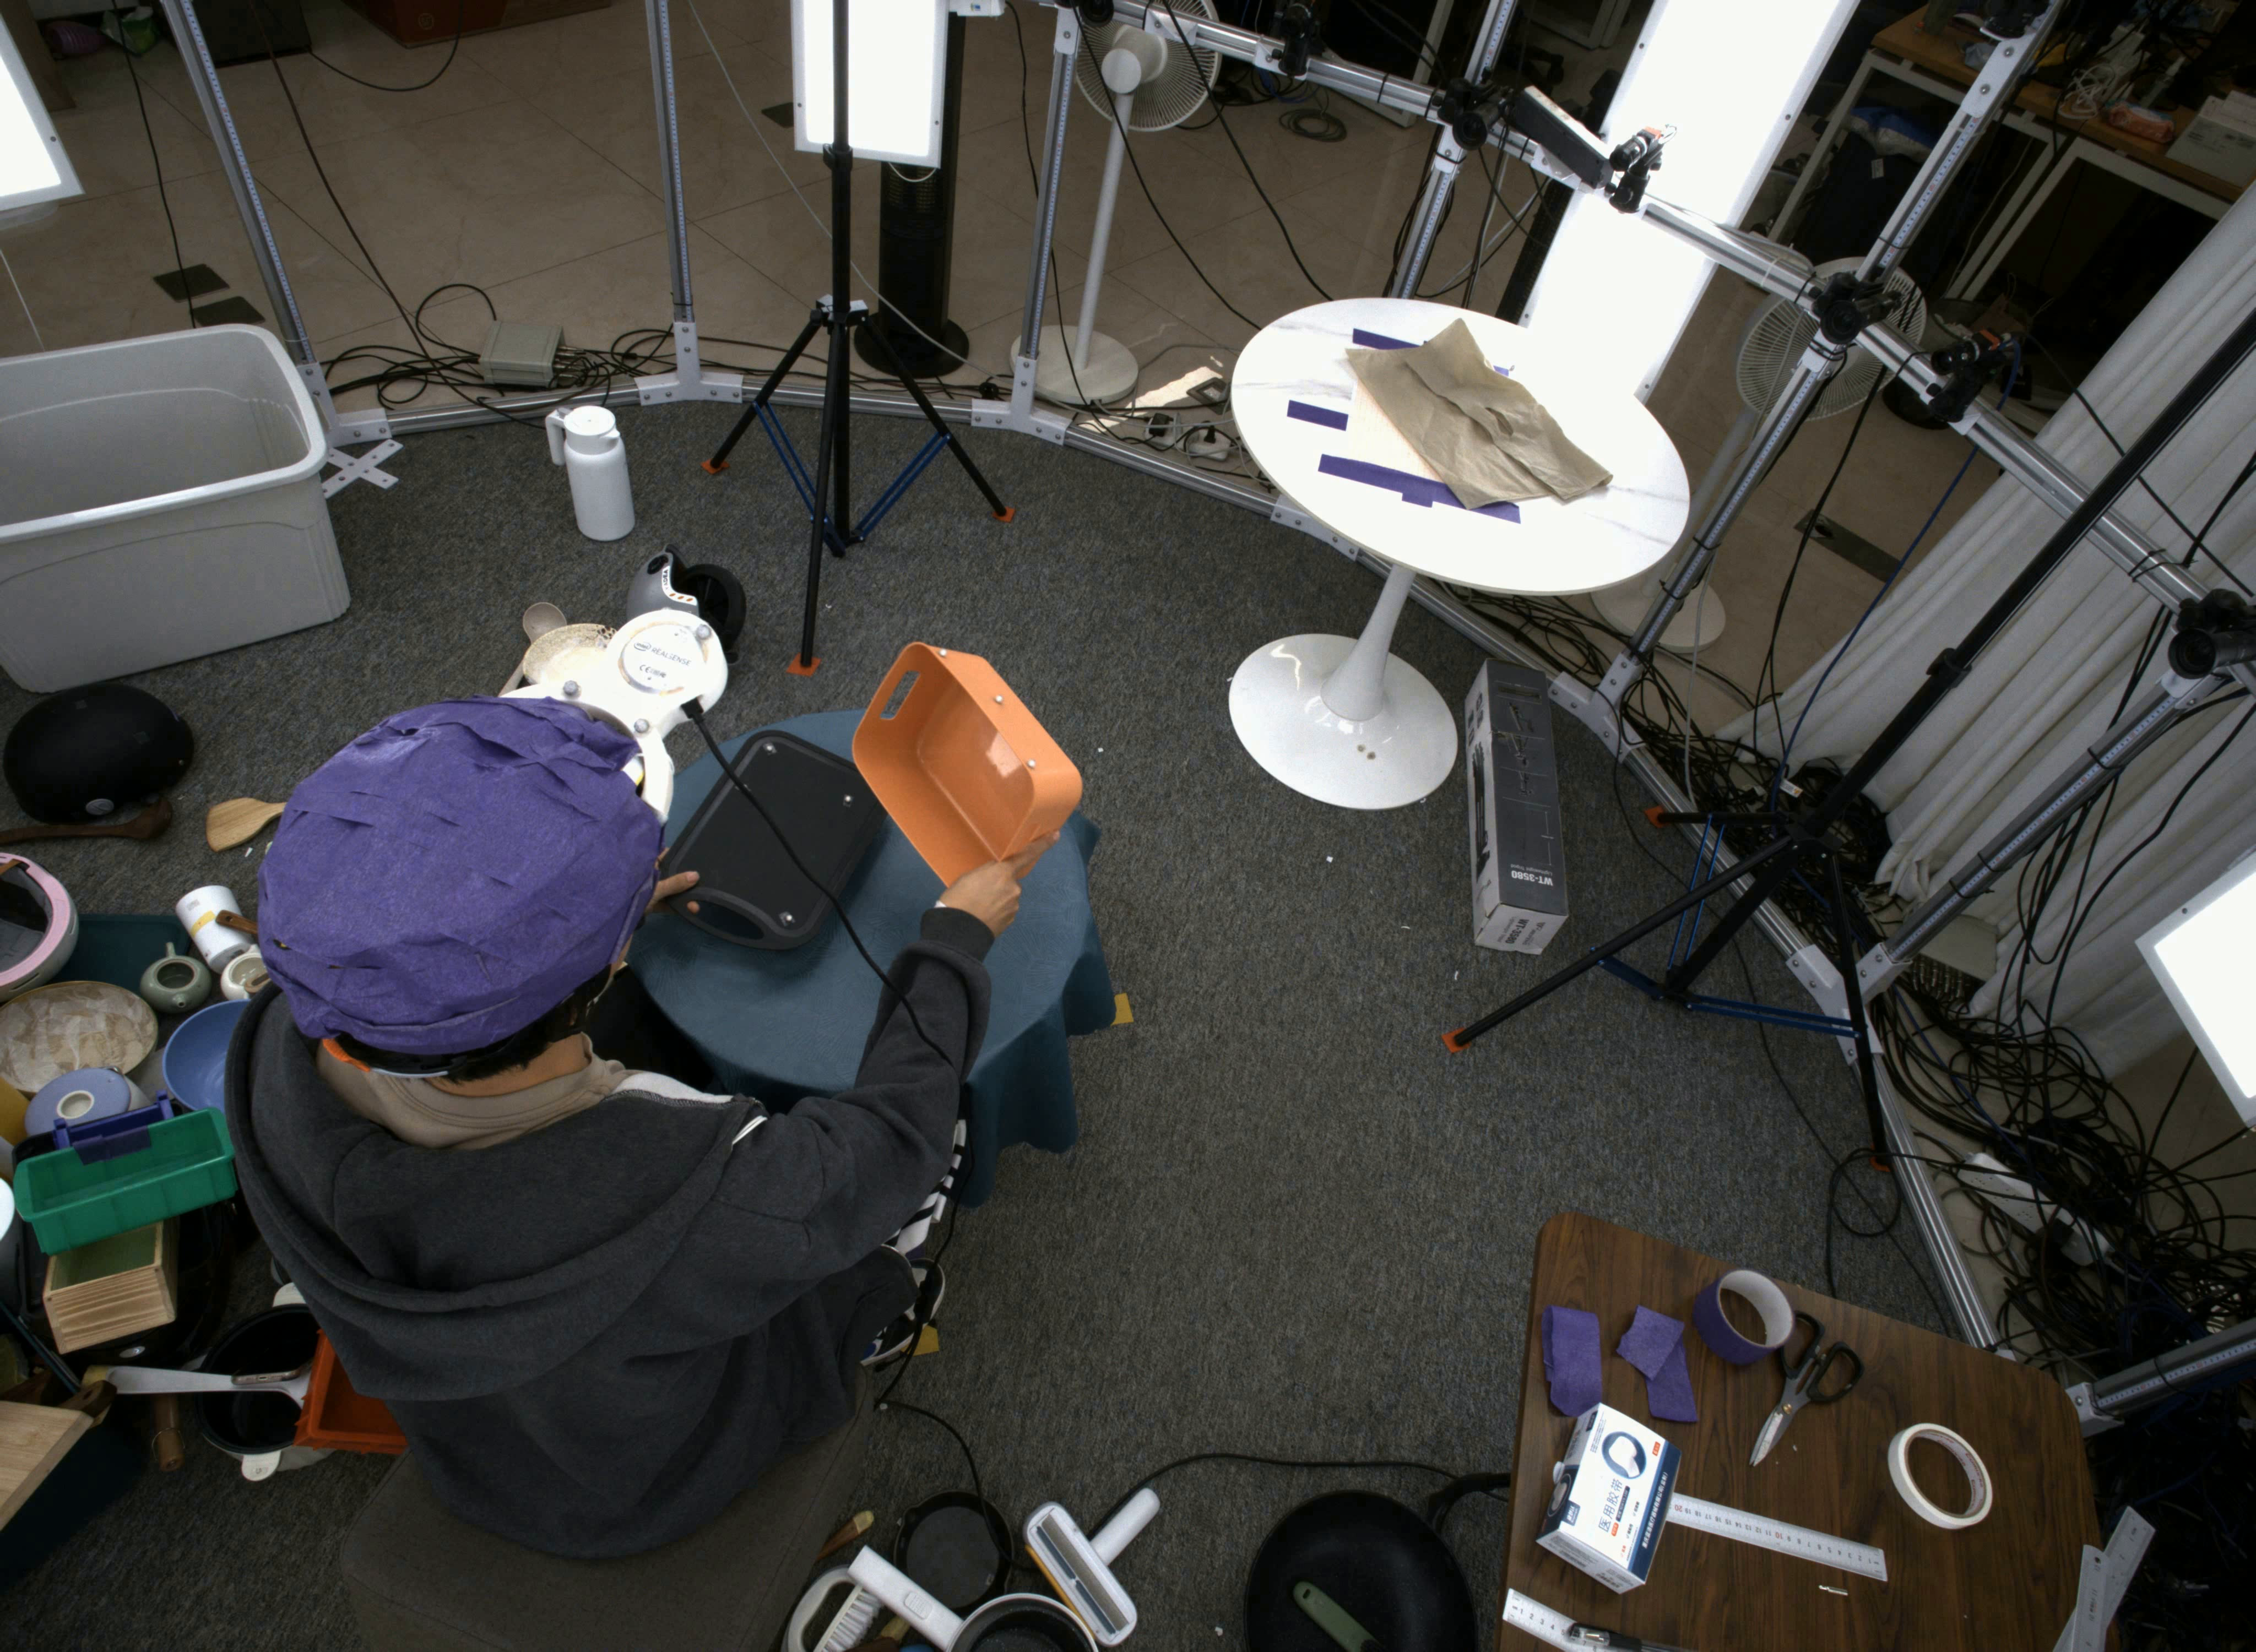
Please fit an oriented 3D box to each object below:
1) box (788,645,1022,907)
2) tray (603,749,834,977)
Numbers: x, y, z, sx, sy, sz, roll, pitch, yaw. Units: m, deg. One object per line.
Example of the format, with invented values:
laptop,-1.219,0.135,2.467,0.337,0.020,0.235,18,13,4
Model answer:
box,-0.254,-0.059,1.495,0.267,0.201,0.104,46,28,20
tray,-0.505,0.041,1.599,0.211,0.010,0.321,23,49,-8
